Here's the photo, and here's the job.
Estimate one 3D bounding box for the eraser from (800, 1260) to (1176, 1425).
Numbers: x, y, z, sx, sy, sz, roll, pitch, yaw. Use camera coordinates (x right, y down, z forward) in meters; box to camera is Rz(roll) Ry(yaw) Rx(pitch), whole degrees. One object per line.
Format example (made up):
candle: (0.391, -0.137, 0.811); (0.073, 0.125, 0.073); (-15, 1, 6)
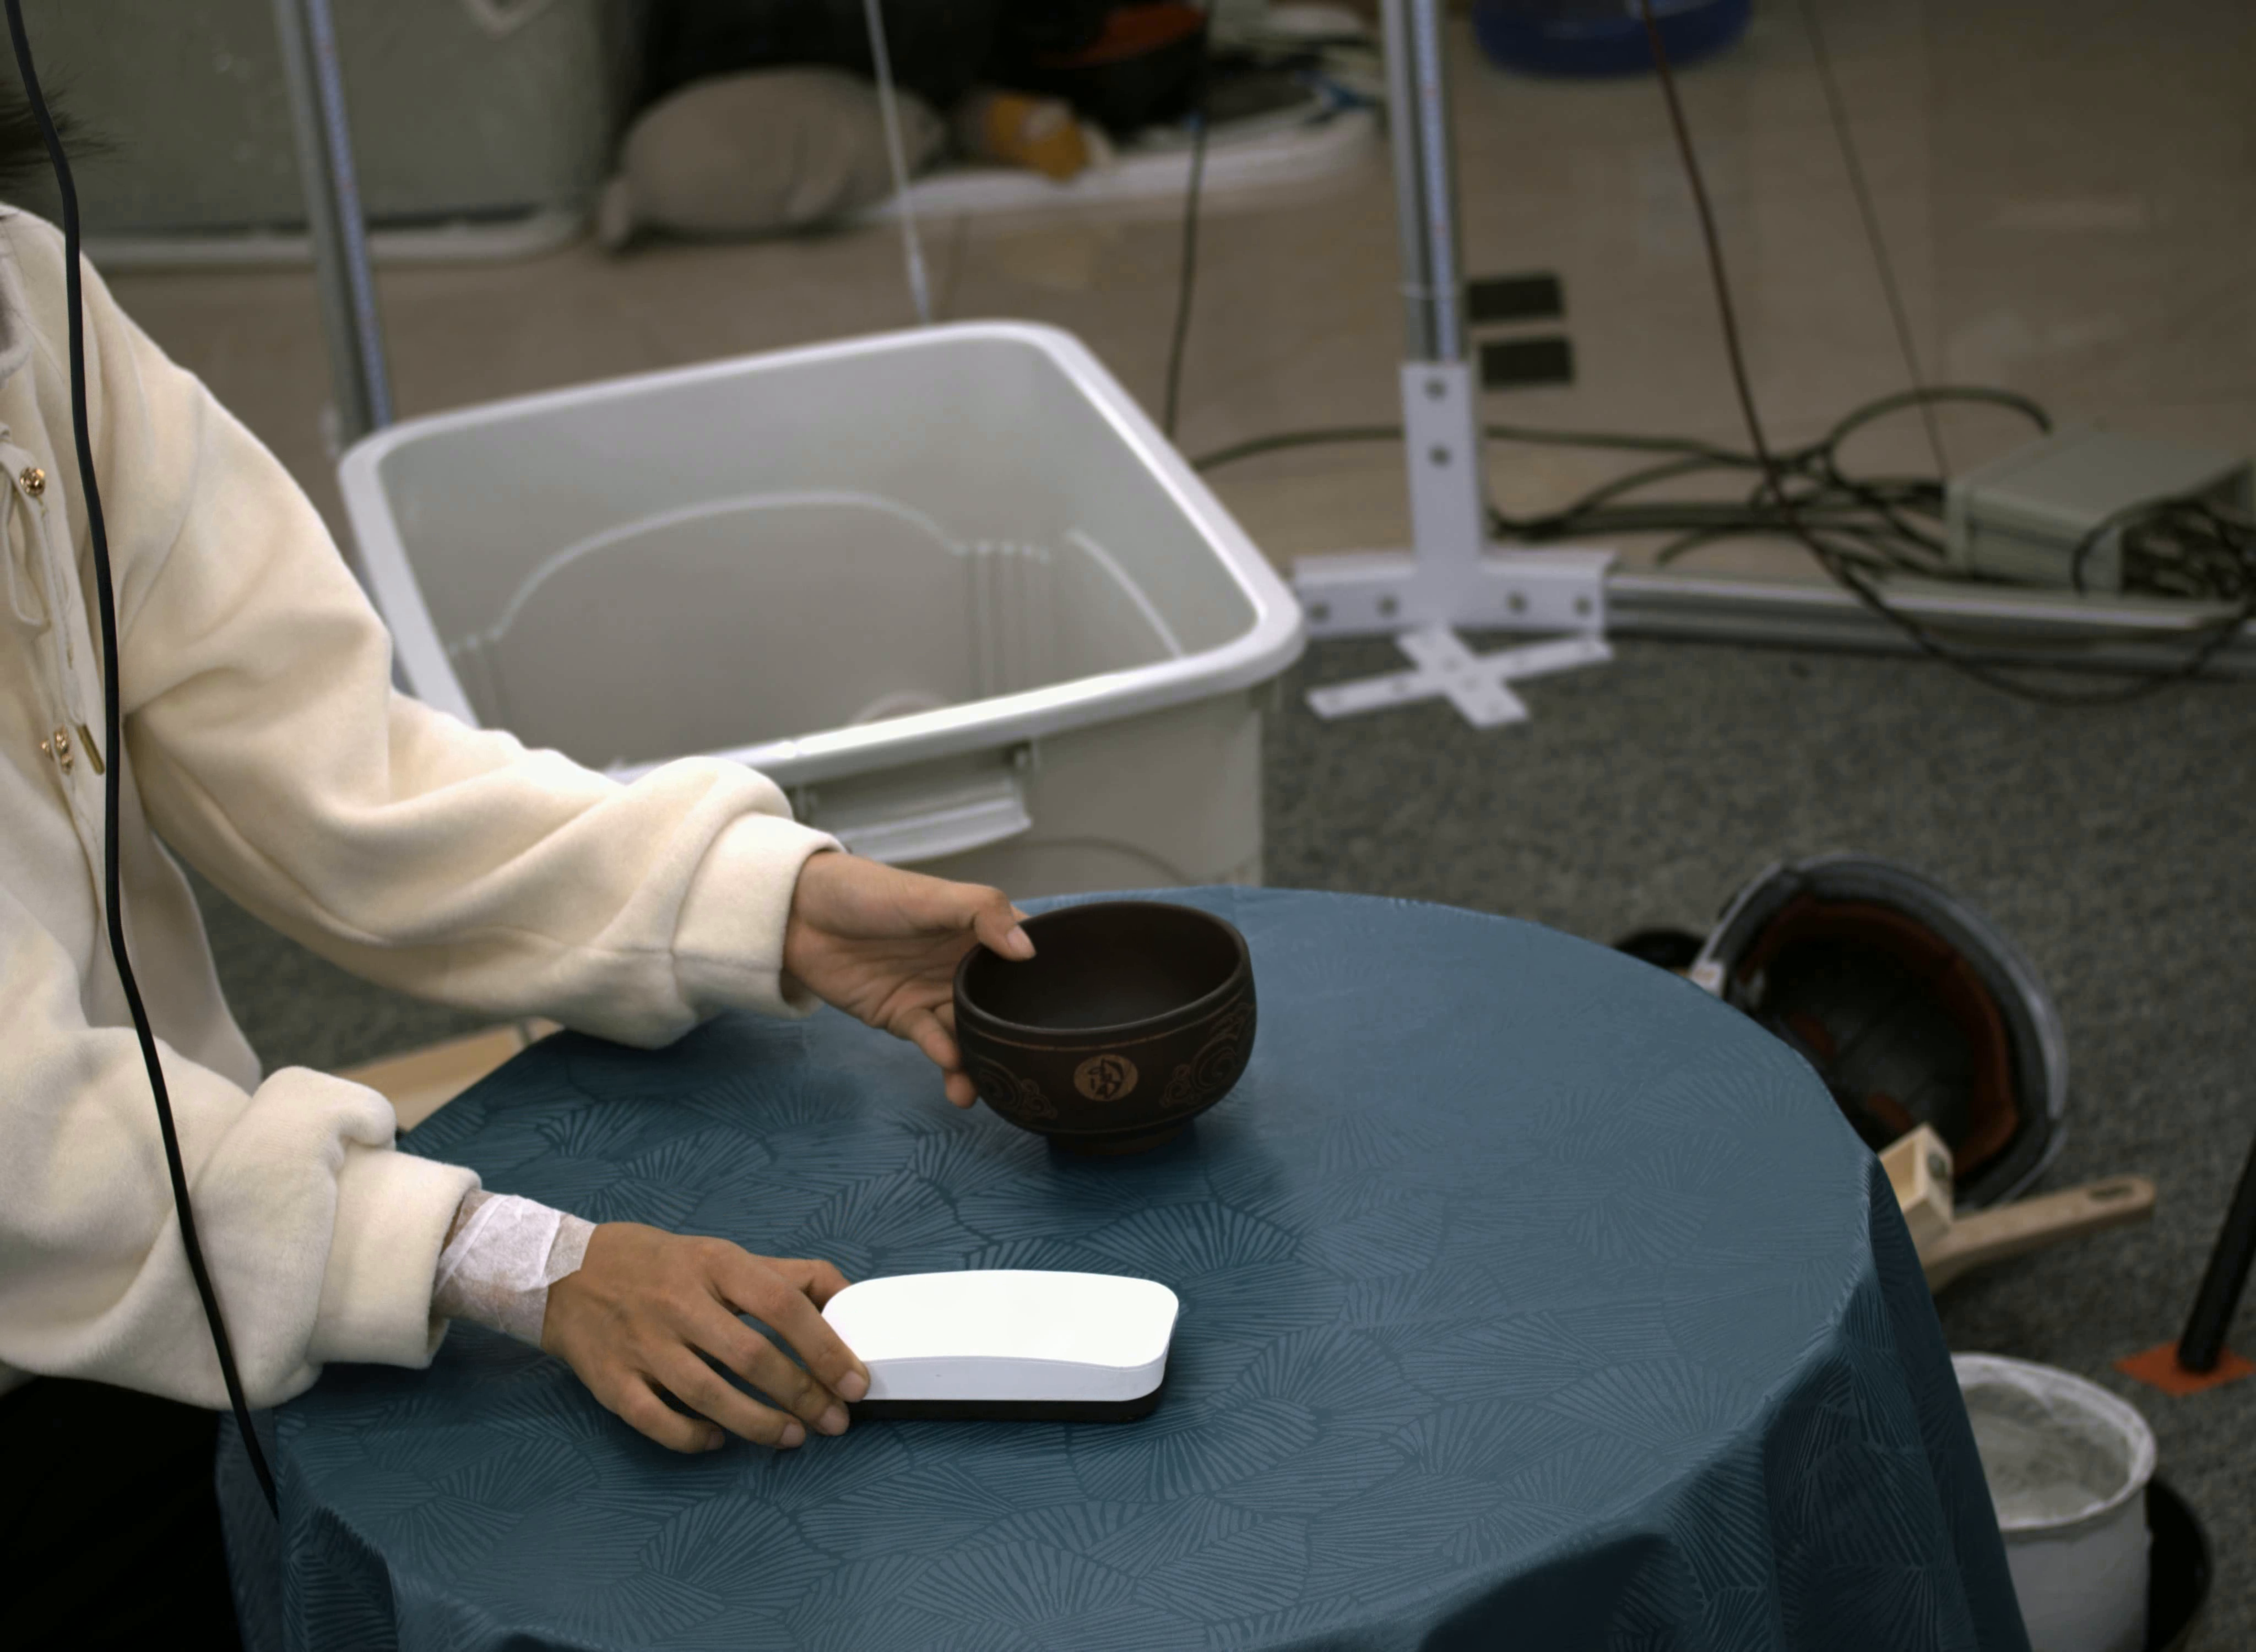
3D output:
eraser: (-0.049, 0.185, 2.025); (0.131, 0.035, 0.062); (0, 26, 13)

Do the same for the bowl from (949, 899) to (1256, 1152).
bowl: (-0.008, 0.083, 2.184); (0.118, 0.071, 0.116); (-6, 23, 3)
